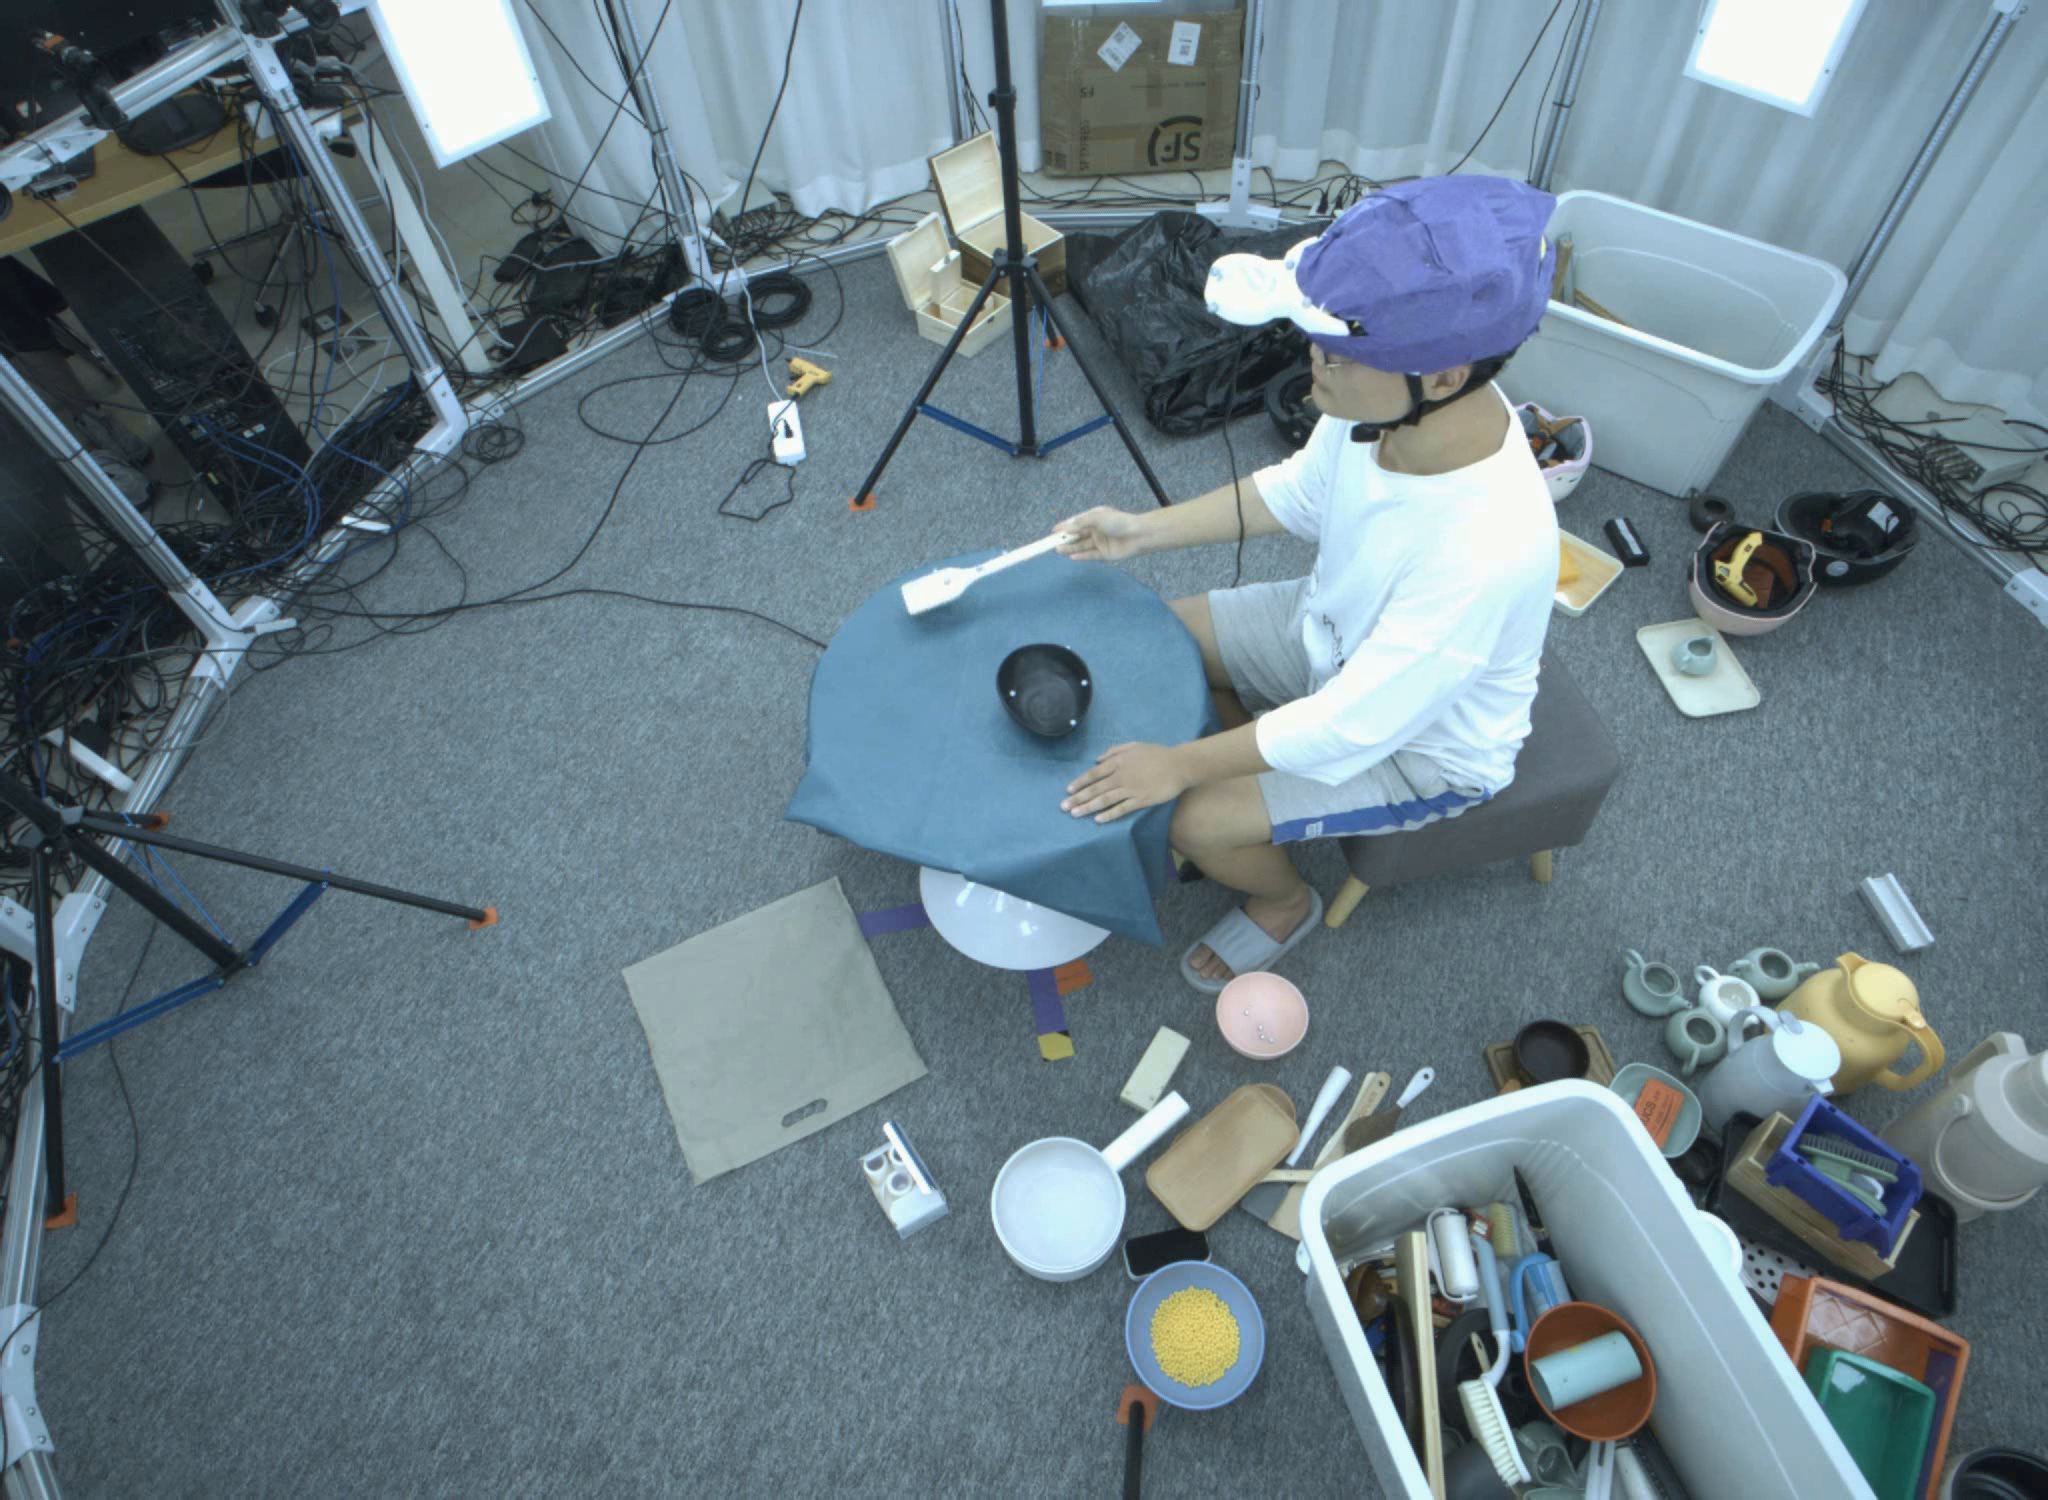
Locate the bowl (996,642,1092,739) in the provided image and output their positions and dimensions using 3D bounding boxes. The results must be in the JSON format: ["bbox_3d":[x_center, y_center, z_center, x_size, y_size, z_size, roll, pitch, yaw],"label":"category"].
[{"bbox_3d":[0.031,-0.079,1.801,0.138,0.067,0.167,-16,57,-10],"label":"bowl"}]

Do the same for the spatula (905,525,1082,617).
[{"bbox_3d":[-0.047,-0.287,1.909,0.293,0.011,0.071,-24,53,0],"label":"spatula"}]
